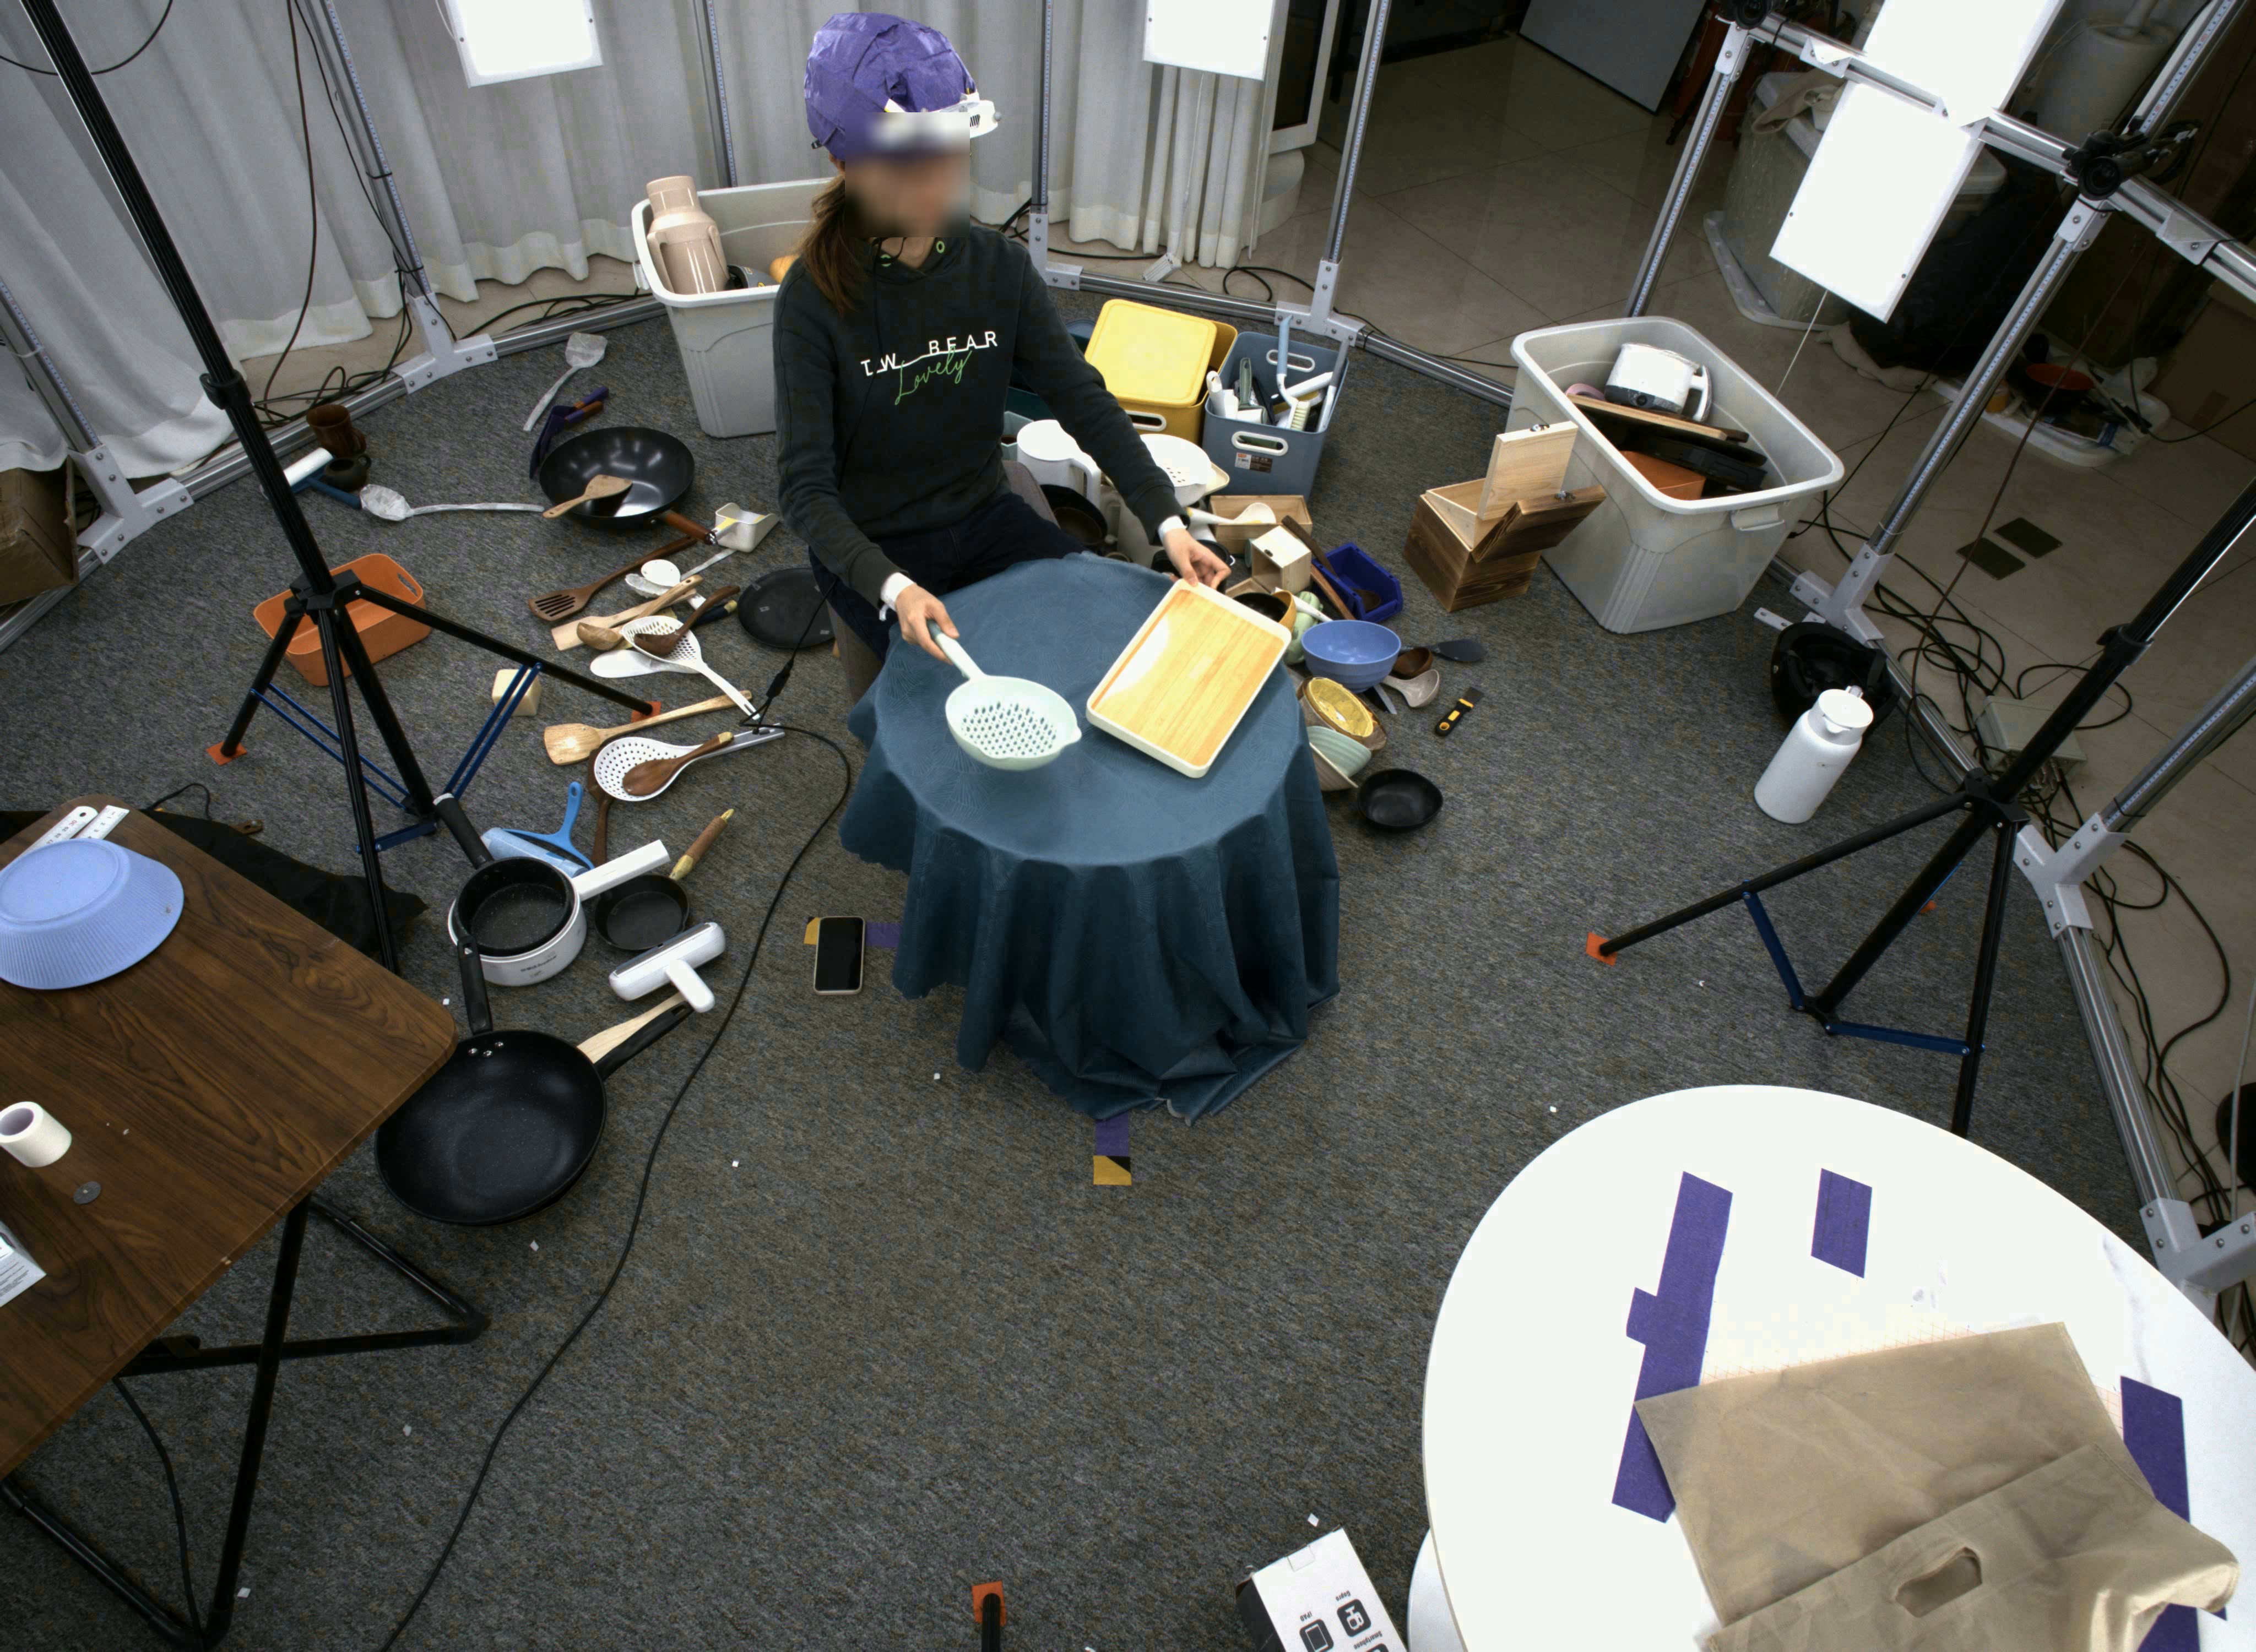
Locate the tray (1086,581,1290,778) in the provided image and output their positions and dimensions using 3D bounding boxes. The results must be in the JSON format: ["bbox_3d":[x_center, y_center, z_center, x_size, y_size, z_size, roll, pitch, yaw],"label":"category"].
[{"bbox_3d":[0.090,-0.215,1.831,0.192,0.027,0.305,29,56,9],"label":"tray"}]

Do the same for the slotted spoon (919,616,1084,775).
[{"bbox_3d":[-0.199,-0.190,1.725,0.169,0.074,0.366,-14,54,-30],"label":"slotted spoon"}]
